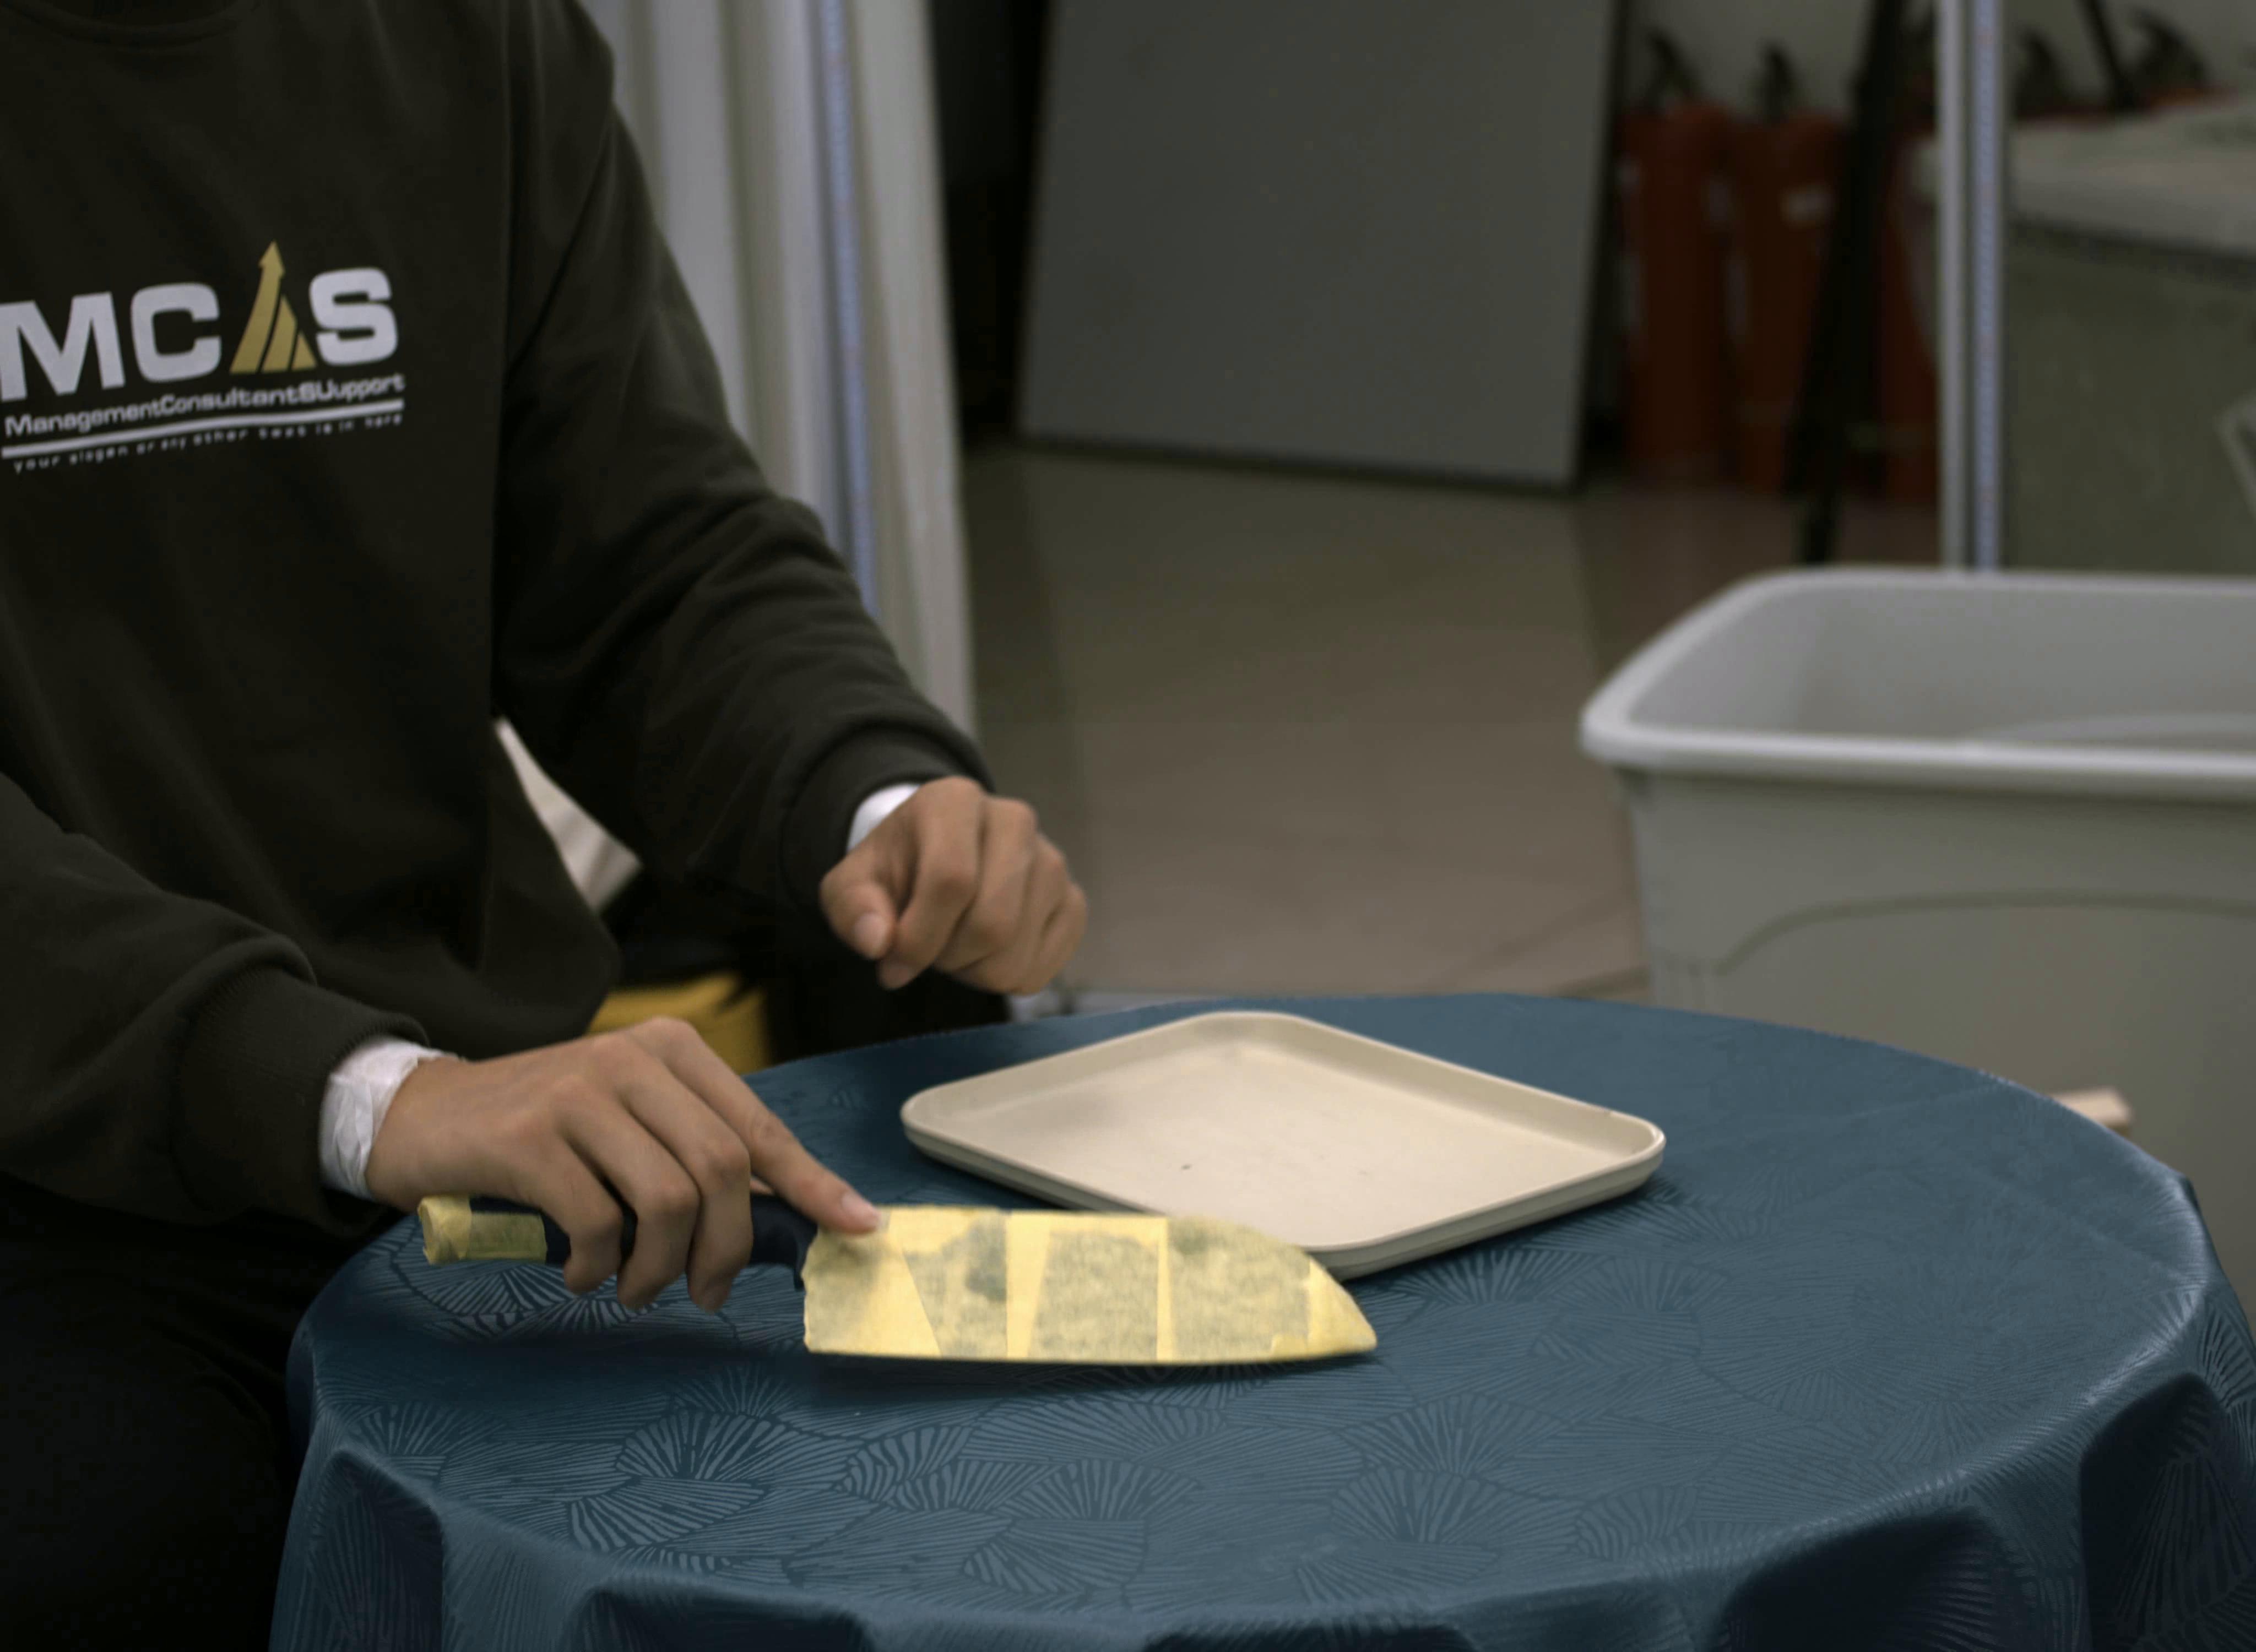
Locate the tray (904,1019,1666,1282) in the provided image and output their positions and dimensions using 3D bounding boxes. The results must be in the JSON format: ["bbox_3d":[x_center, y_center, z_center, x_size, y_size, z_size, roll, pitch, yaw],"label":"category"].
[{"bbox_3d":[0.050,0.107,1.784,0.167,0.017,0.242,-14,17,-34],"label":"tray"}]

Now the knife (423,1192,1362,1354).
[{"bbox_3d":[-0.071,0.134,1.620,0.286,0.027,0.081,1,31,5],"label":"knife"}]
